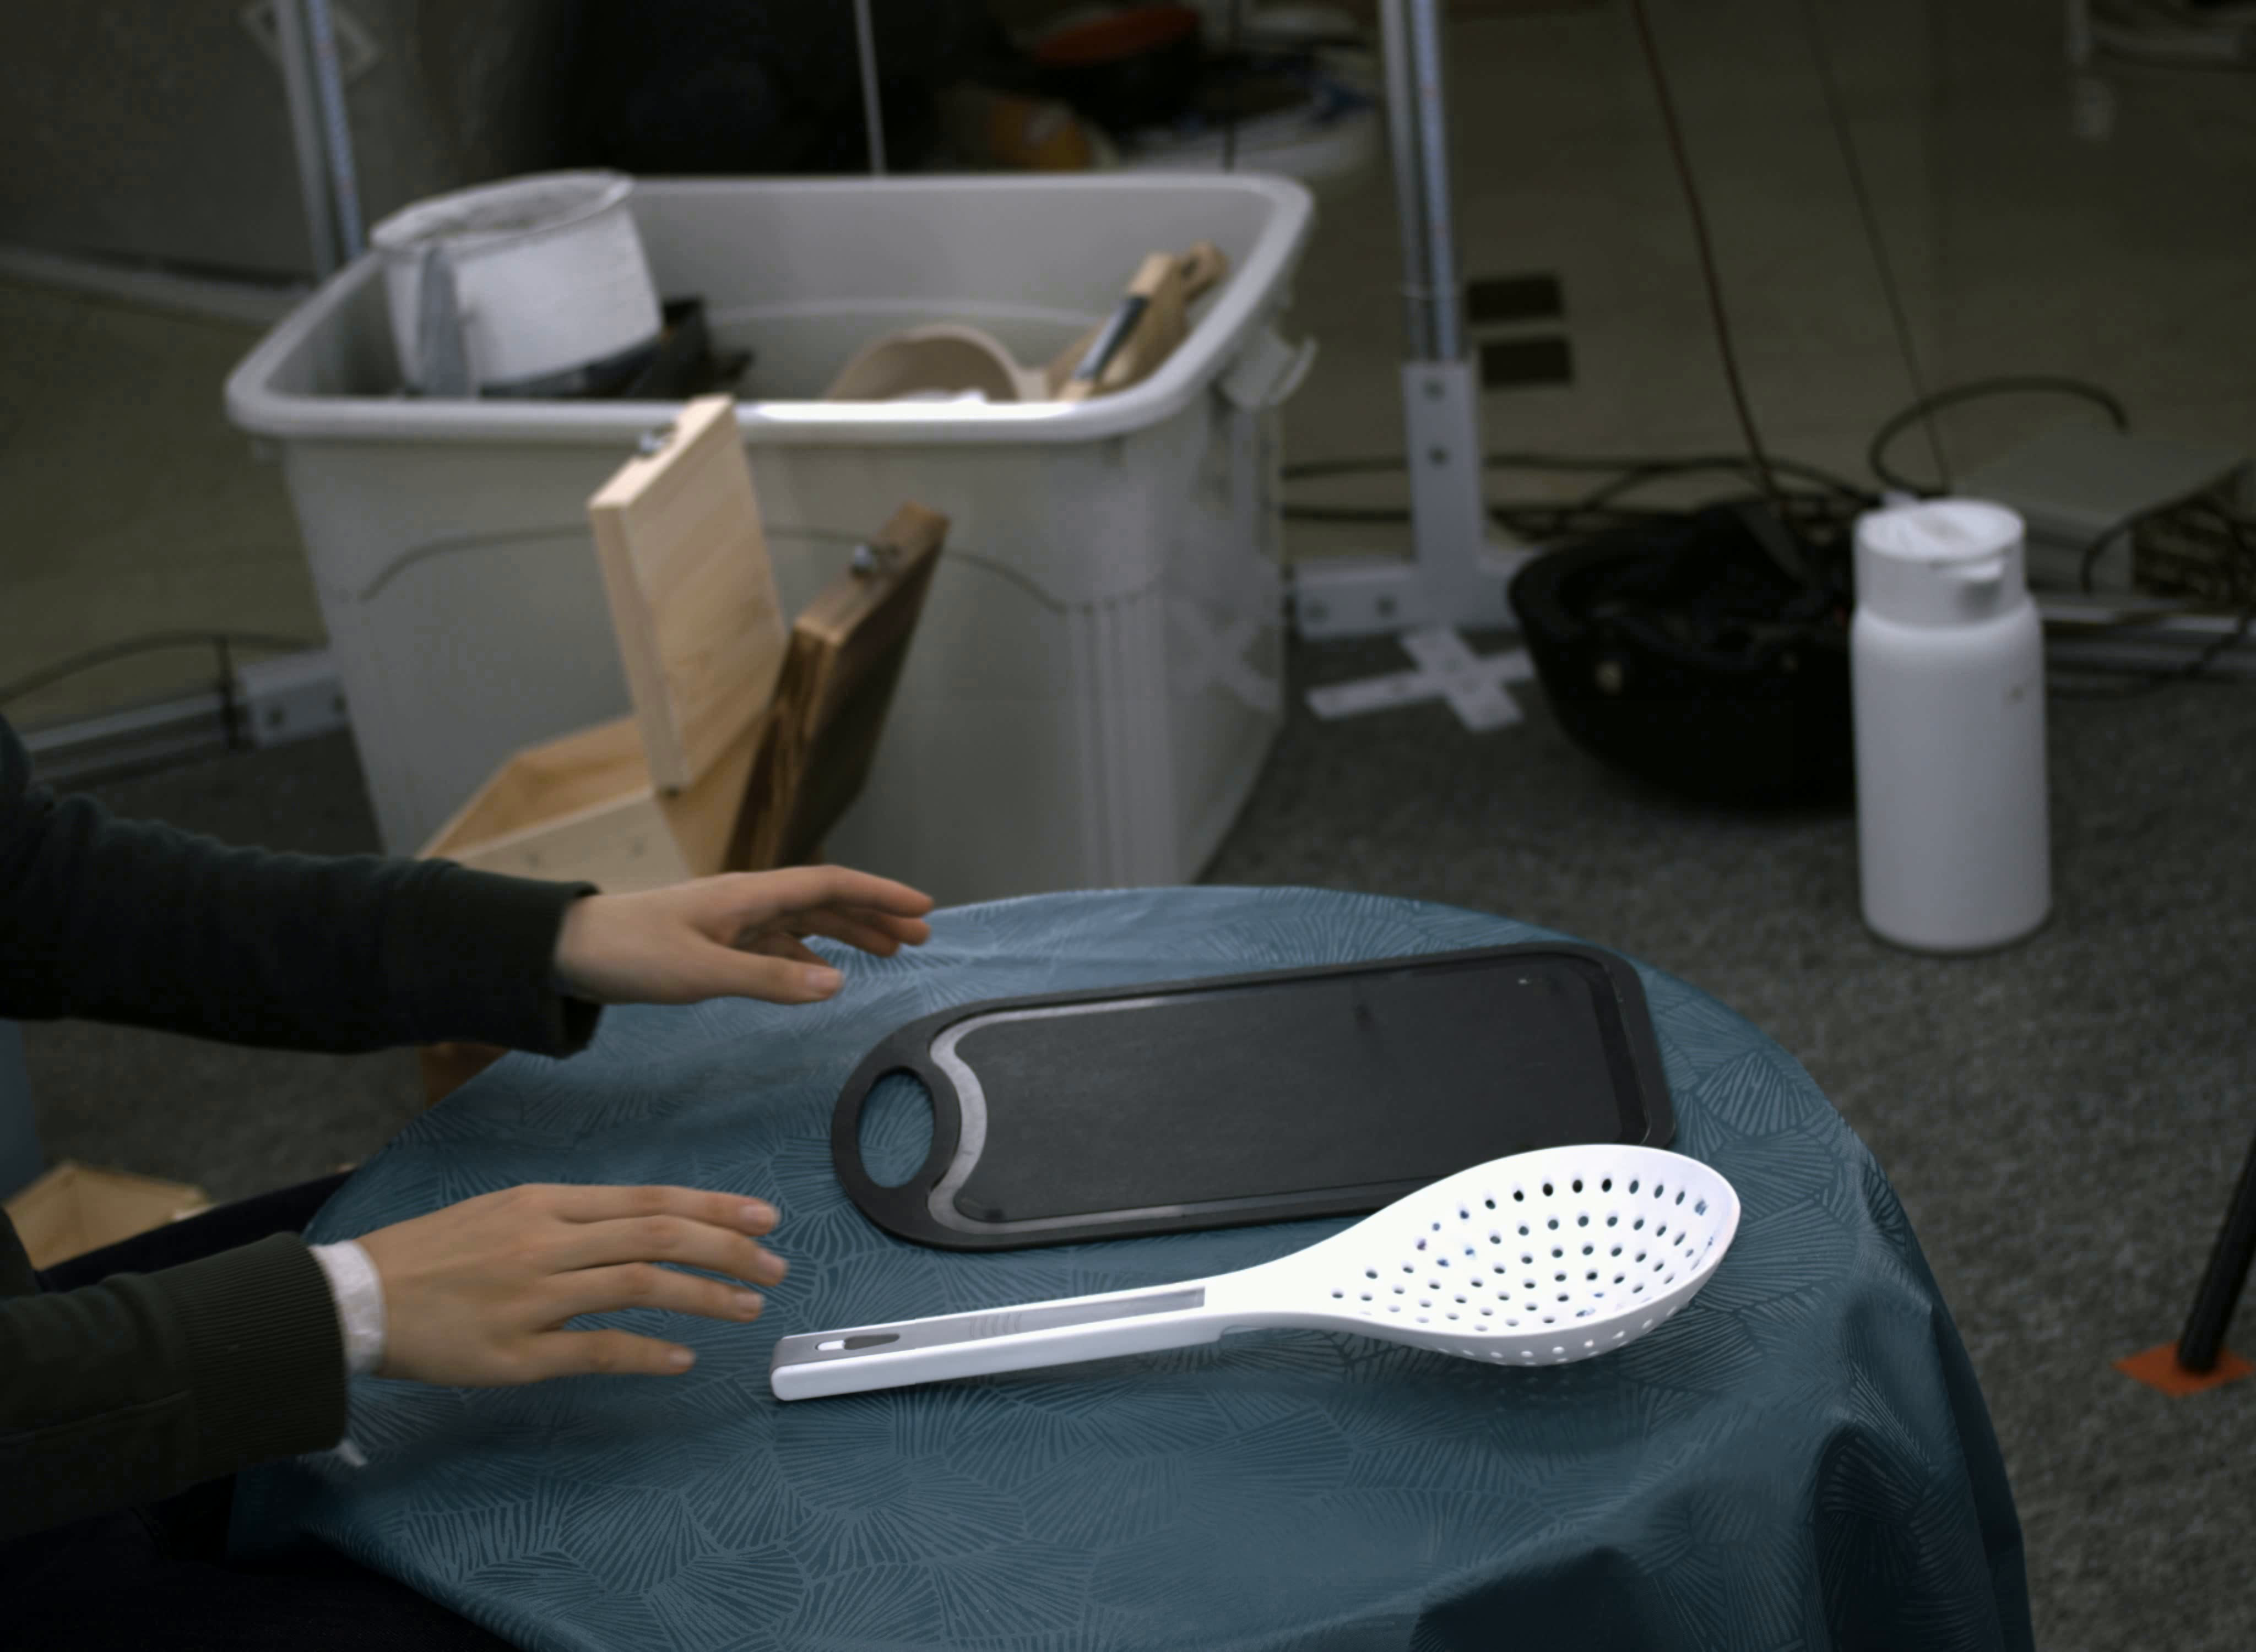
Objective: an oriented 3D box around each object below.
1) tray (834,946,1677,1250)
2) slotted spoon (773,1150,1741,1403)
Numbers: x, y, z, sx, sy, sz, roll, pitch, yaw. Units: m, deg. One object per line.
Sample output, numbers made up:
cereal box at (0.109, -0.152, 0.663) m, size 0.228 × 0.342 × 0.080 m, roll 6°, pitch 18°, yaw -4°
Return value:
tray at (0.046, 0.104, 2.210) m, size 0.325 × 0.010 × 0.208 m, roll -6°, pitch 24°, yaw 2°
slotted spoon at (0.044, 0.170, 2.022) m, size 0.349 × 0.046 × 0.134 m, roll -5°, pitch 23°, yaw 5°
